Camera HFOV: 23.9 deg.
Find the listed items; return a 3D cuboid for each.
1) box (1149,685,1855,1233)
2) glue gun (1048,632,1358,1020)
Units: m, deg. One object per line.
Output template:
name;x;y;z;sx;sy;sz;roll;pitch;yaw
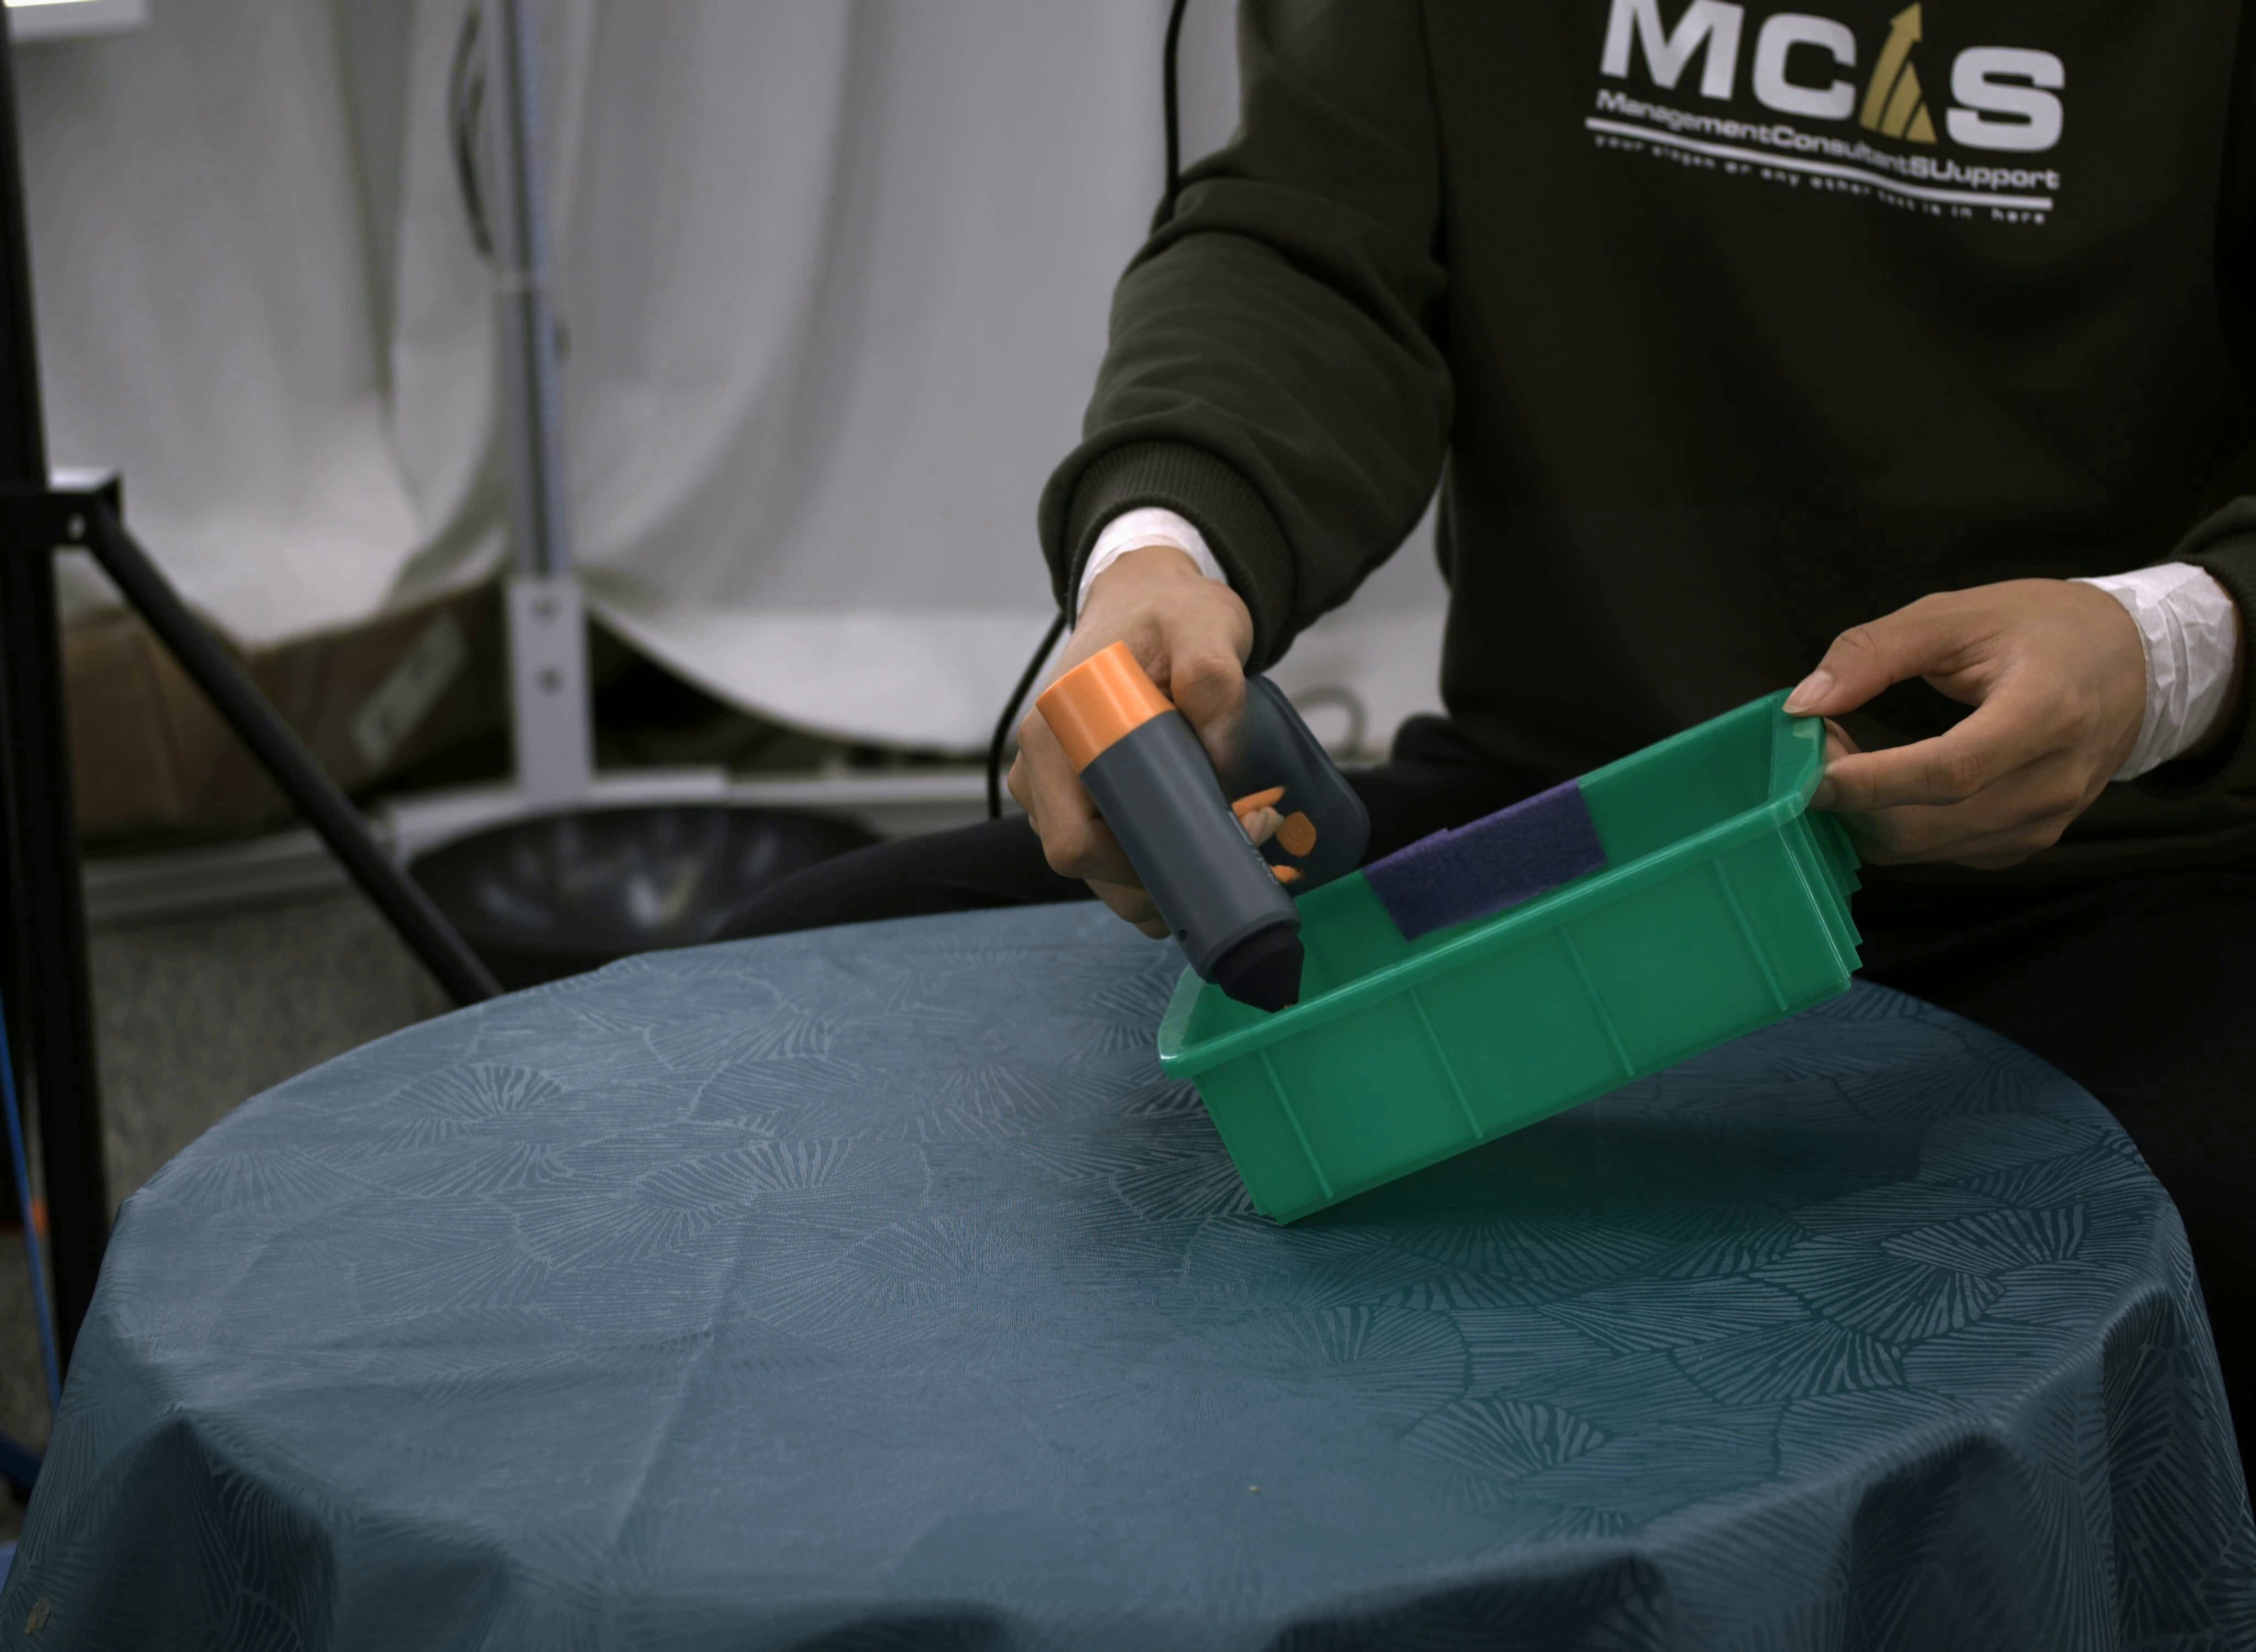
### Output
box;0.115;0.041;1.547;0.211;0.065;0.138;-25;10;13
glue gun;0.027;-0.002;1.571;0.041;0.118;0.138;-31;-3;17
